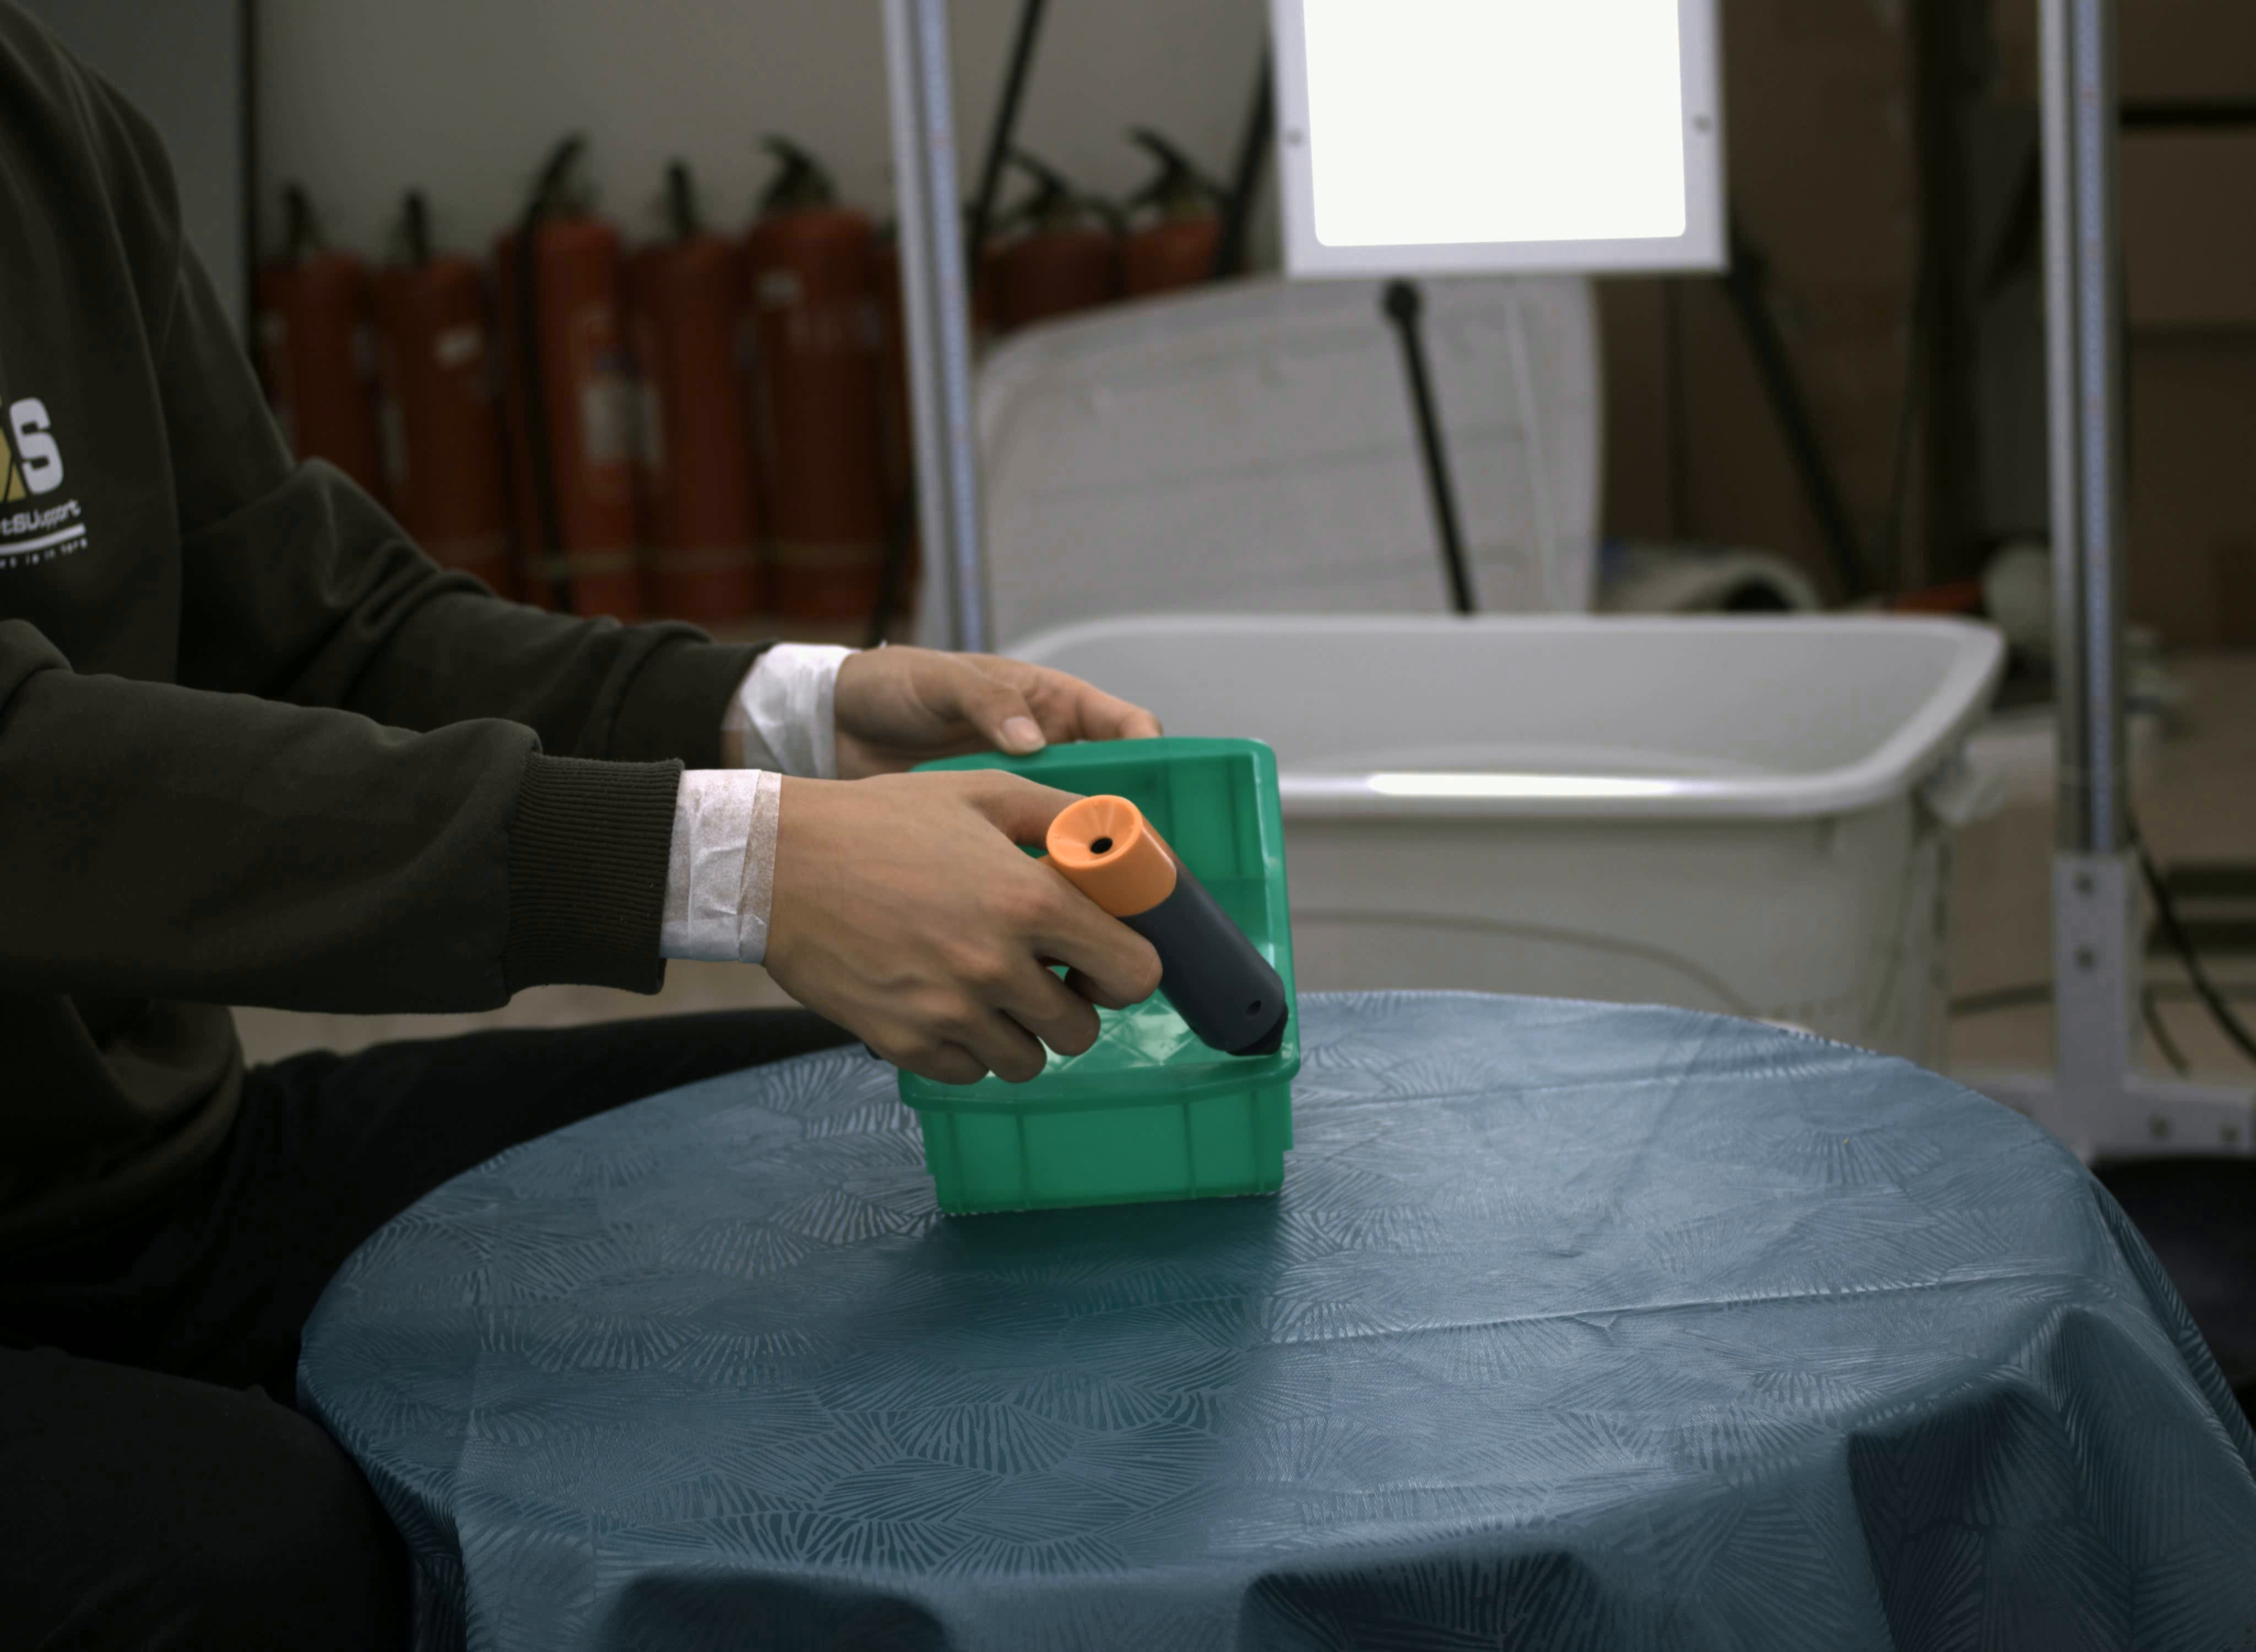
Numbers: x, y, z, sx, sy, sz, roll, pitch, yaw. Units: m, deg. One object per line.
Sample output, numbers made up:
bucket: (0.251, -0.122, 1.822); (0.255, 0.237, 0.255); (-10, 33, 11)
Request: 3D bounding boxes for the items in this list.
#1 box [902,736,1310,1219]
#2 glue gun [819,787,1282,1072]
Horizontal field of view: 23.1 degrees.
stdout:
box: (-0.008, 0.055, 1.942); (0.138, 0.065, 0.210); (-6, 37, 2)
glue gun: (-0.024, 0.043, 1.829); (0.141, 0.118, 0.040); (-5, 41, 16)
